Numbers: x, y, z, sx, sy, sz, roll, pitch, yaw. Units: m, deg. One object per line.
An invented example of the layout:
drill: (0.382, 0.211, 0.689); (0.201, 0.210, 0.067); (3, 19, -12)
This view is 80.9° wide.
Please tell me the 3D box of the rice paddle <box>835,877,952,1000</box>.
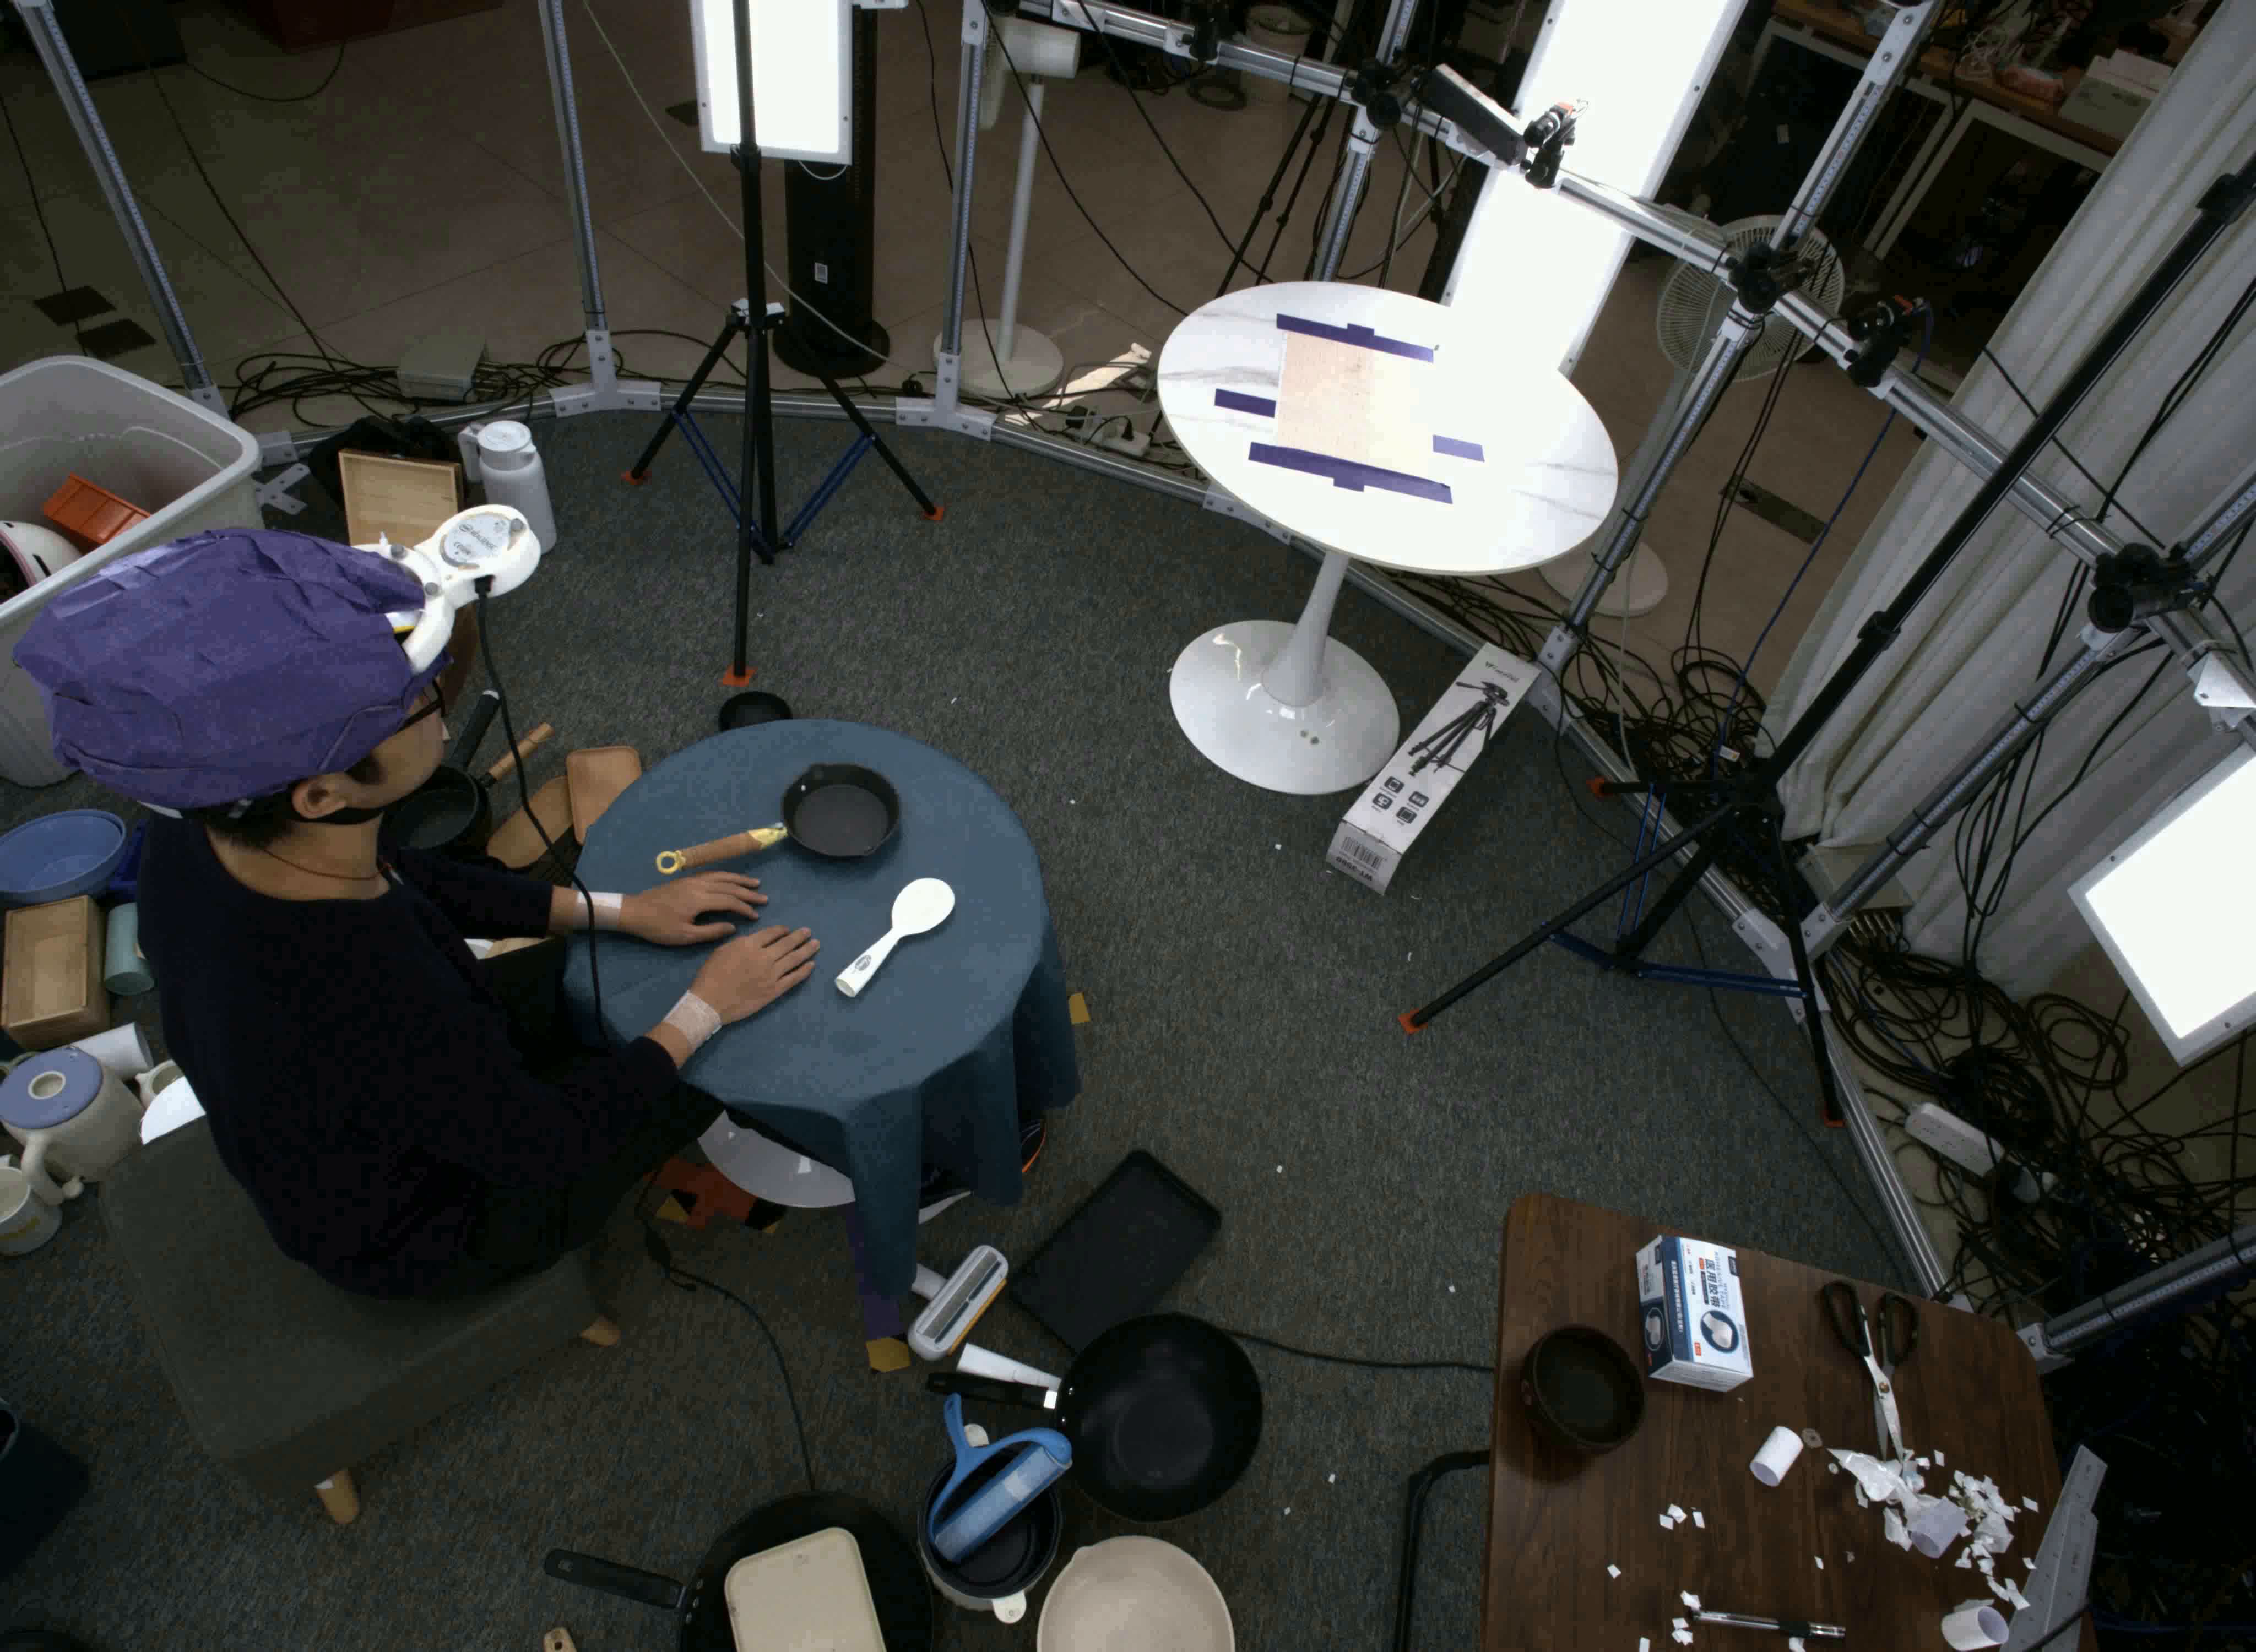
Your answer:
rice paddle: (-0.293, 0.133, 1.631); (0.068, 0.030, 0.204); (32, 53, 8)

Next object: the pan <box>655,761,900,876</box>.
pan: (-0.451, 0.005, 1.670); (0.326, 0.050, 0.165); (-20, 61, -29)
